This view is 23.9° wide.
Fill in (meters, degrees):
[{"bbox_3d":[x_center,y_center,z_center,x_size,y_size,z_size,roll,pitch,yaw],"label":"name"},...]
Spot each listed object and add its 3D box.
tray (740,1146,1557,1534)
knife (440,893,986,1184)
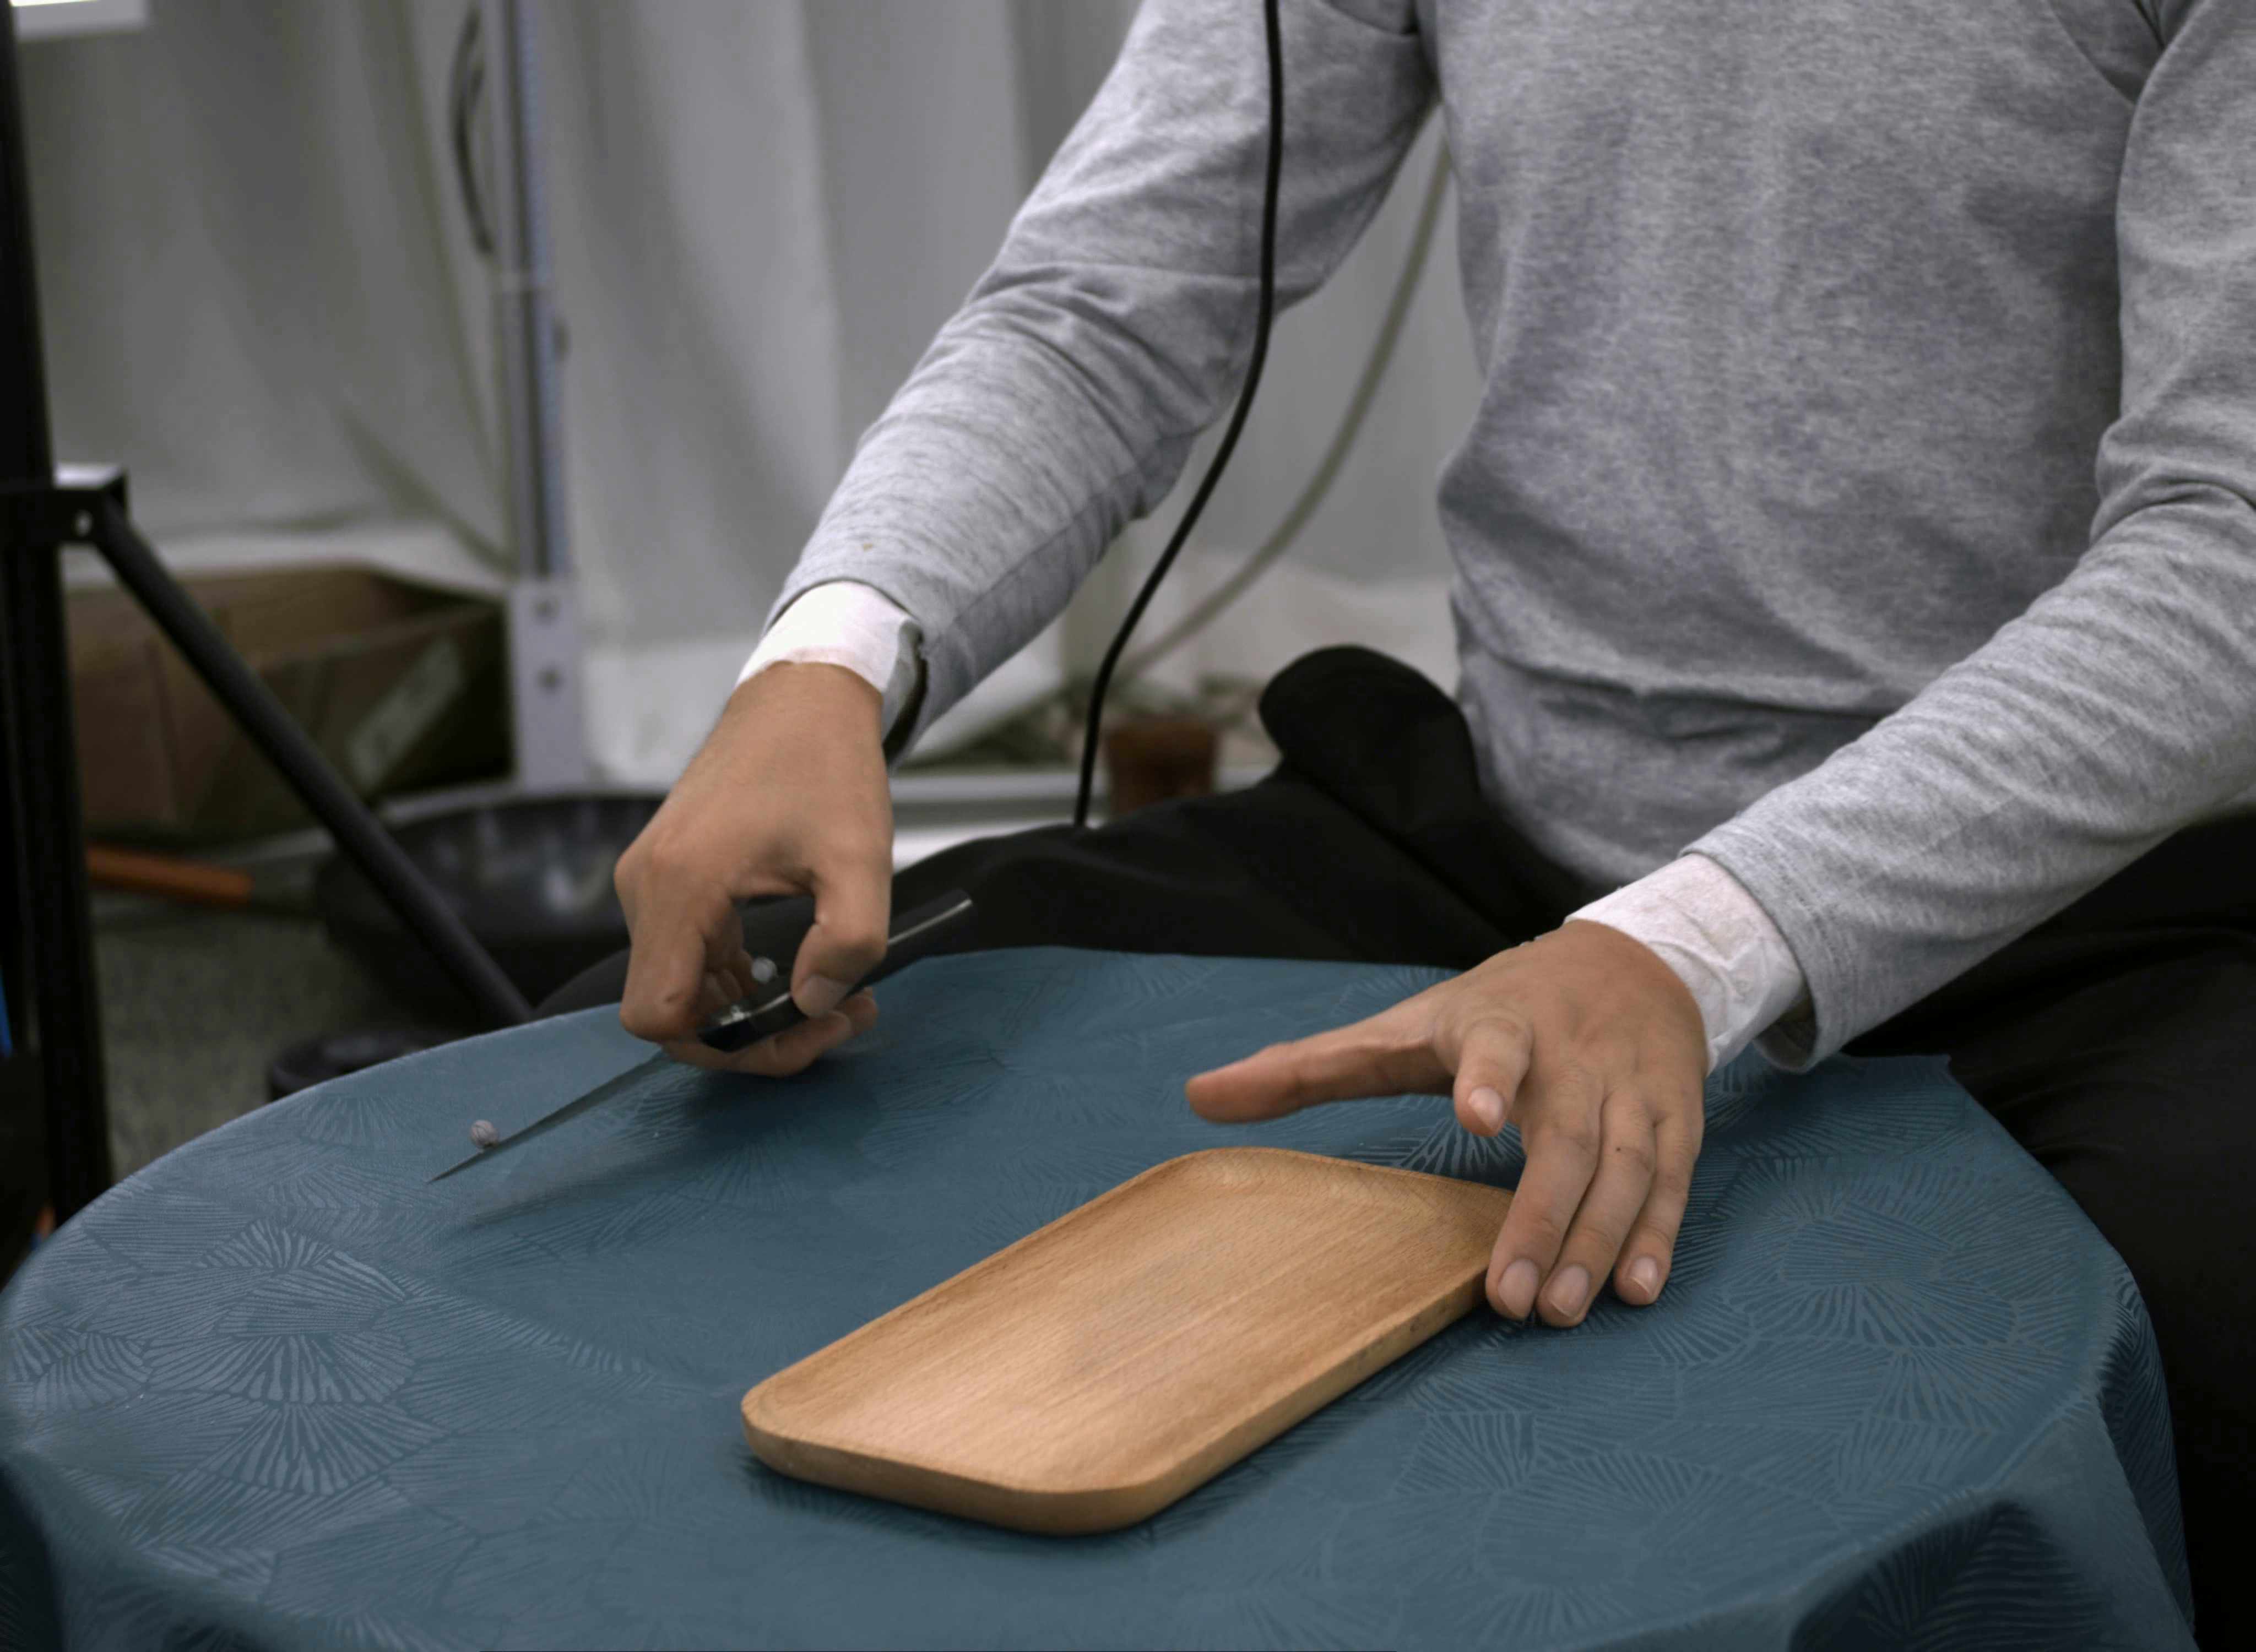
[{"bbox_3d":[0.010,0.136,1.433,0.133,0.023,0.245,12,20,33],"label":"tray"},{"bbox_3d":[-0.126,0.067,1.631,0.233,0.016,0.025,-27,-10,-44],"label":"knife"}]
